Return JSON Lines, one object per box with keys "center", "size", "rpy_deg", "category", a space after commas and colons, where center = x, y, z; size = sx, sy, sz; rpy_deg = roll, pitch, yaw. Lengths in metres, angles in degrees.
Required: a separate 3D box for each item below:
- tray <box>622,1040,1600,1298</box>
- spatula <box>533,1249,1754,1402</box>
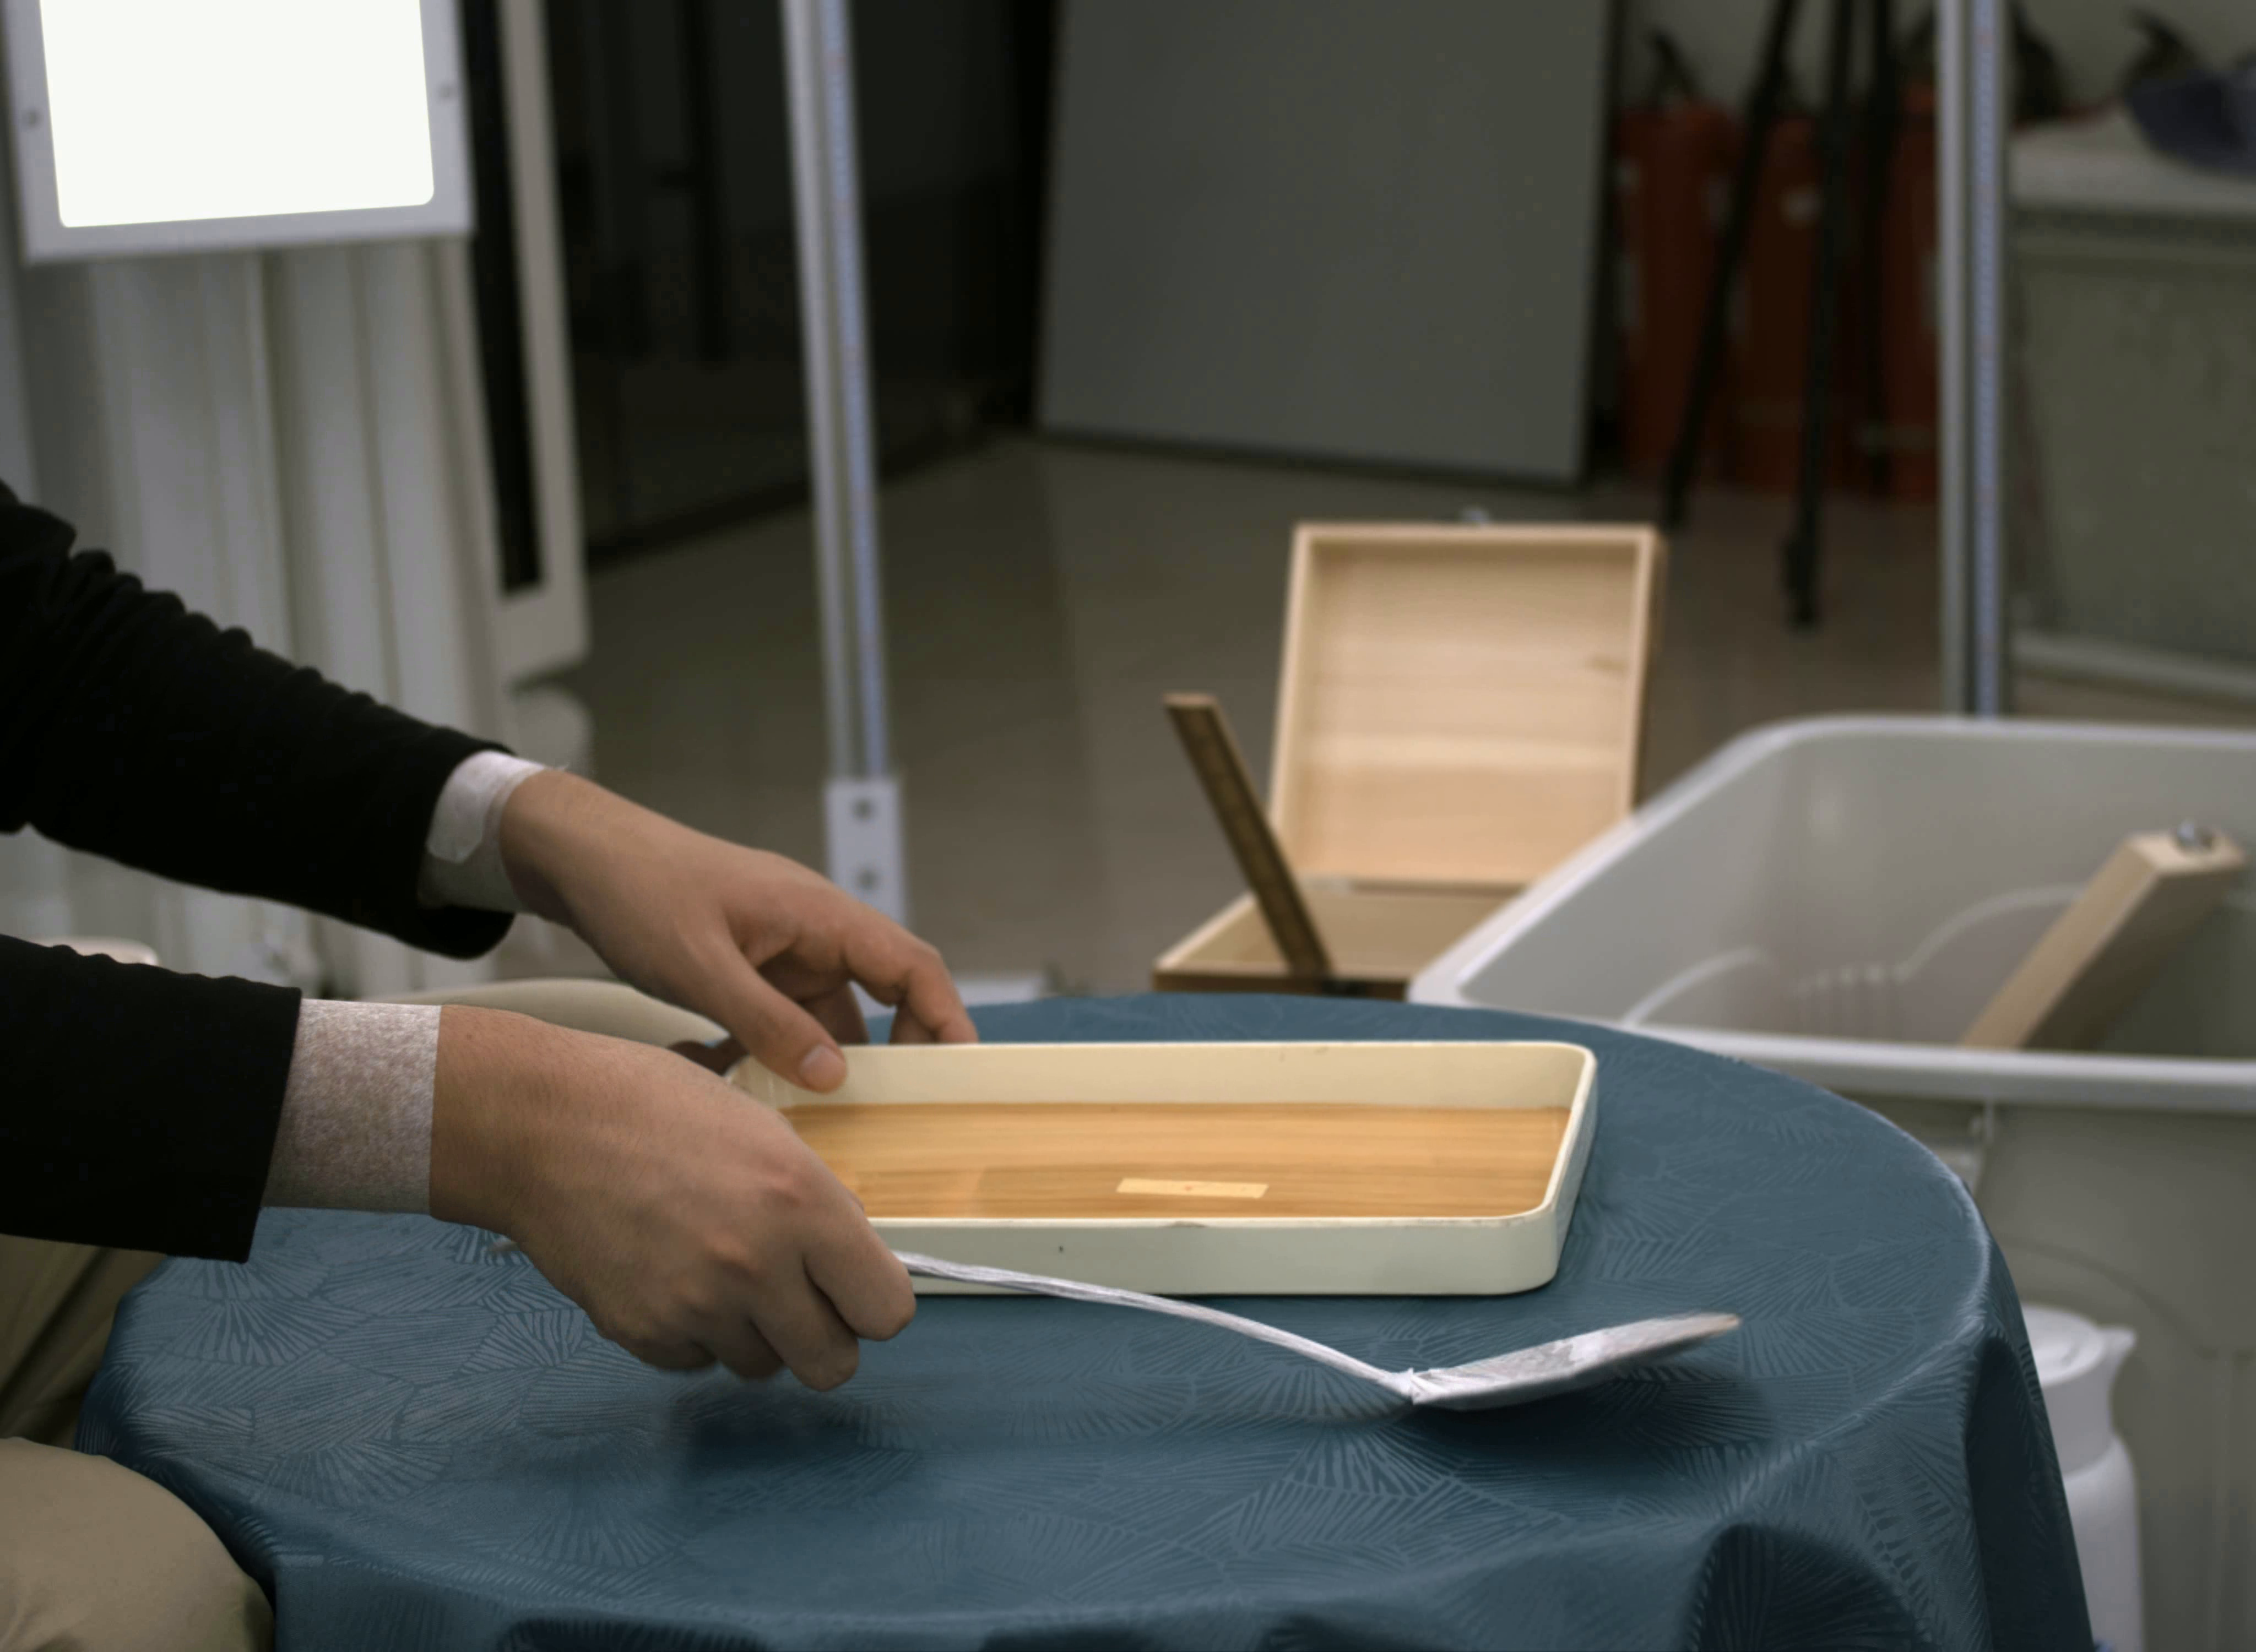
{"center": [-0.001, 0.111, 1.755], "size": [0.298, 0.028, 0.190], "rpy_deg": [-1, 14, 12], "category": "tray"}
{"center": [-0.001, 0.134, 1.565], "size": [0.362, 0.045, 0.098], "rpy_deg": [7, 1, 12], "category": "spatula"}
